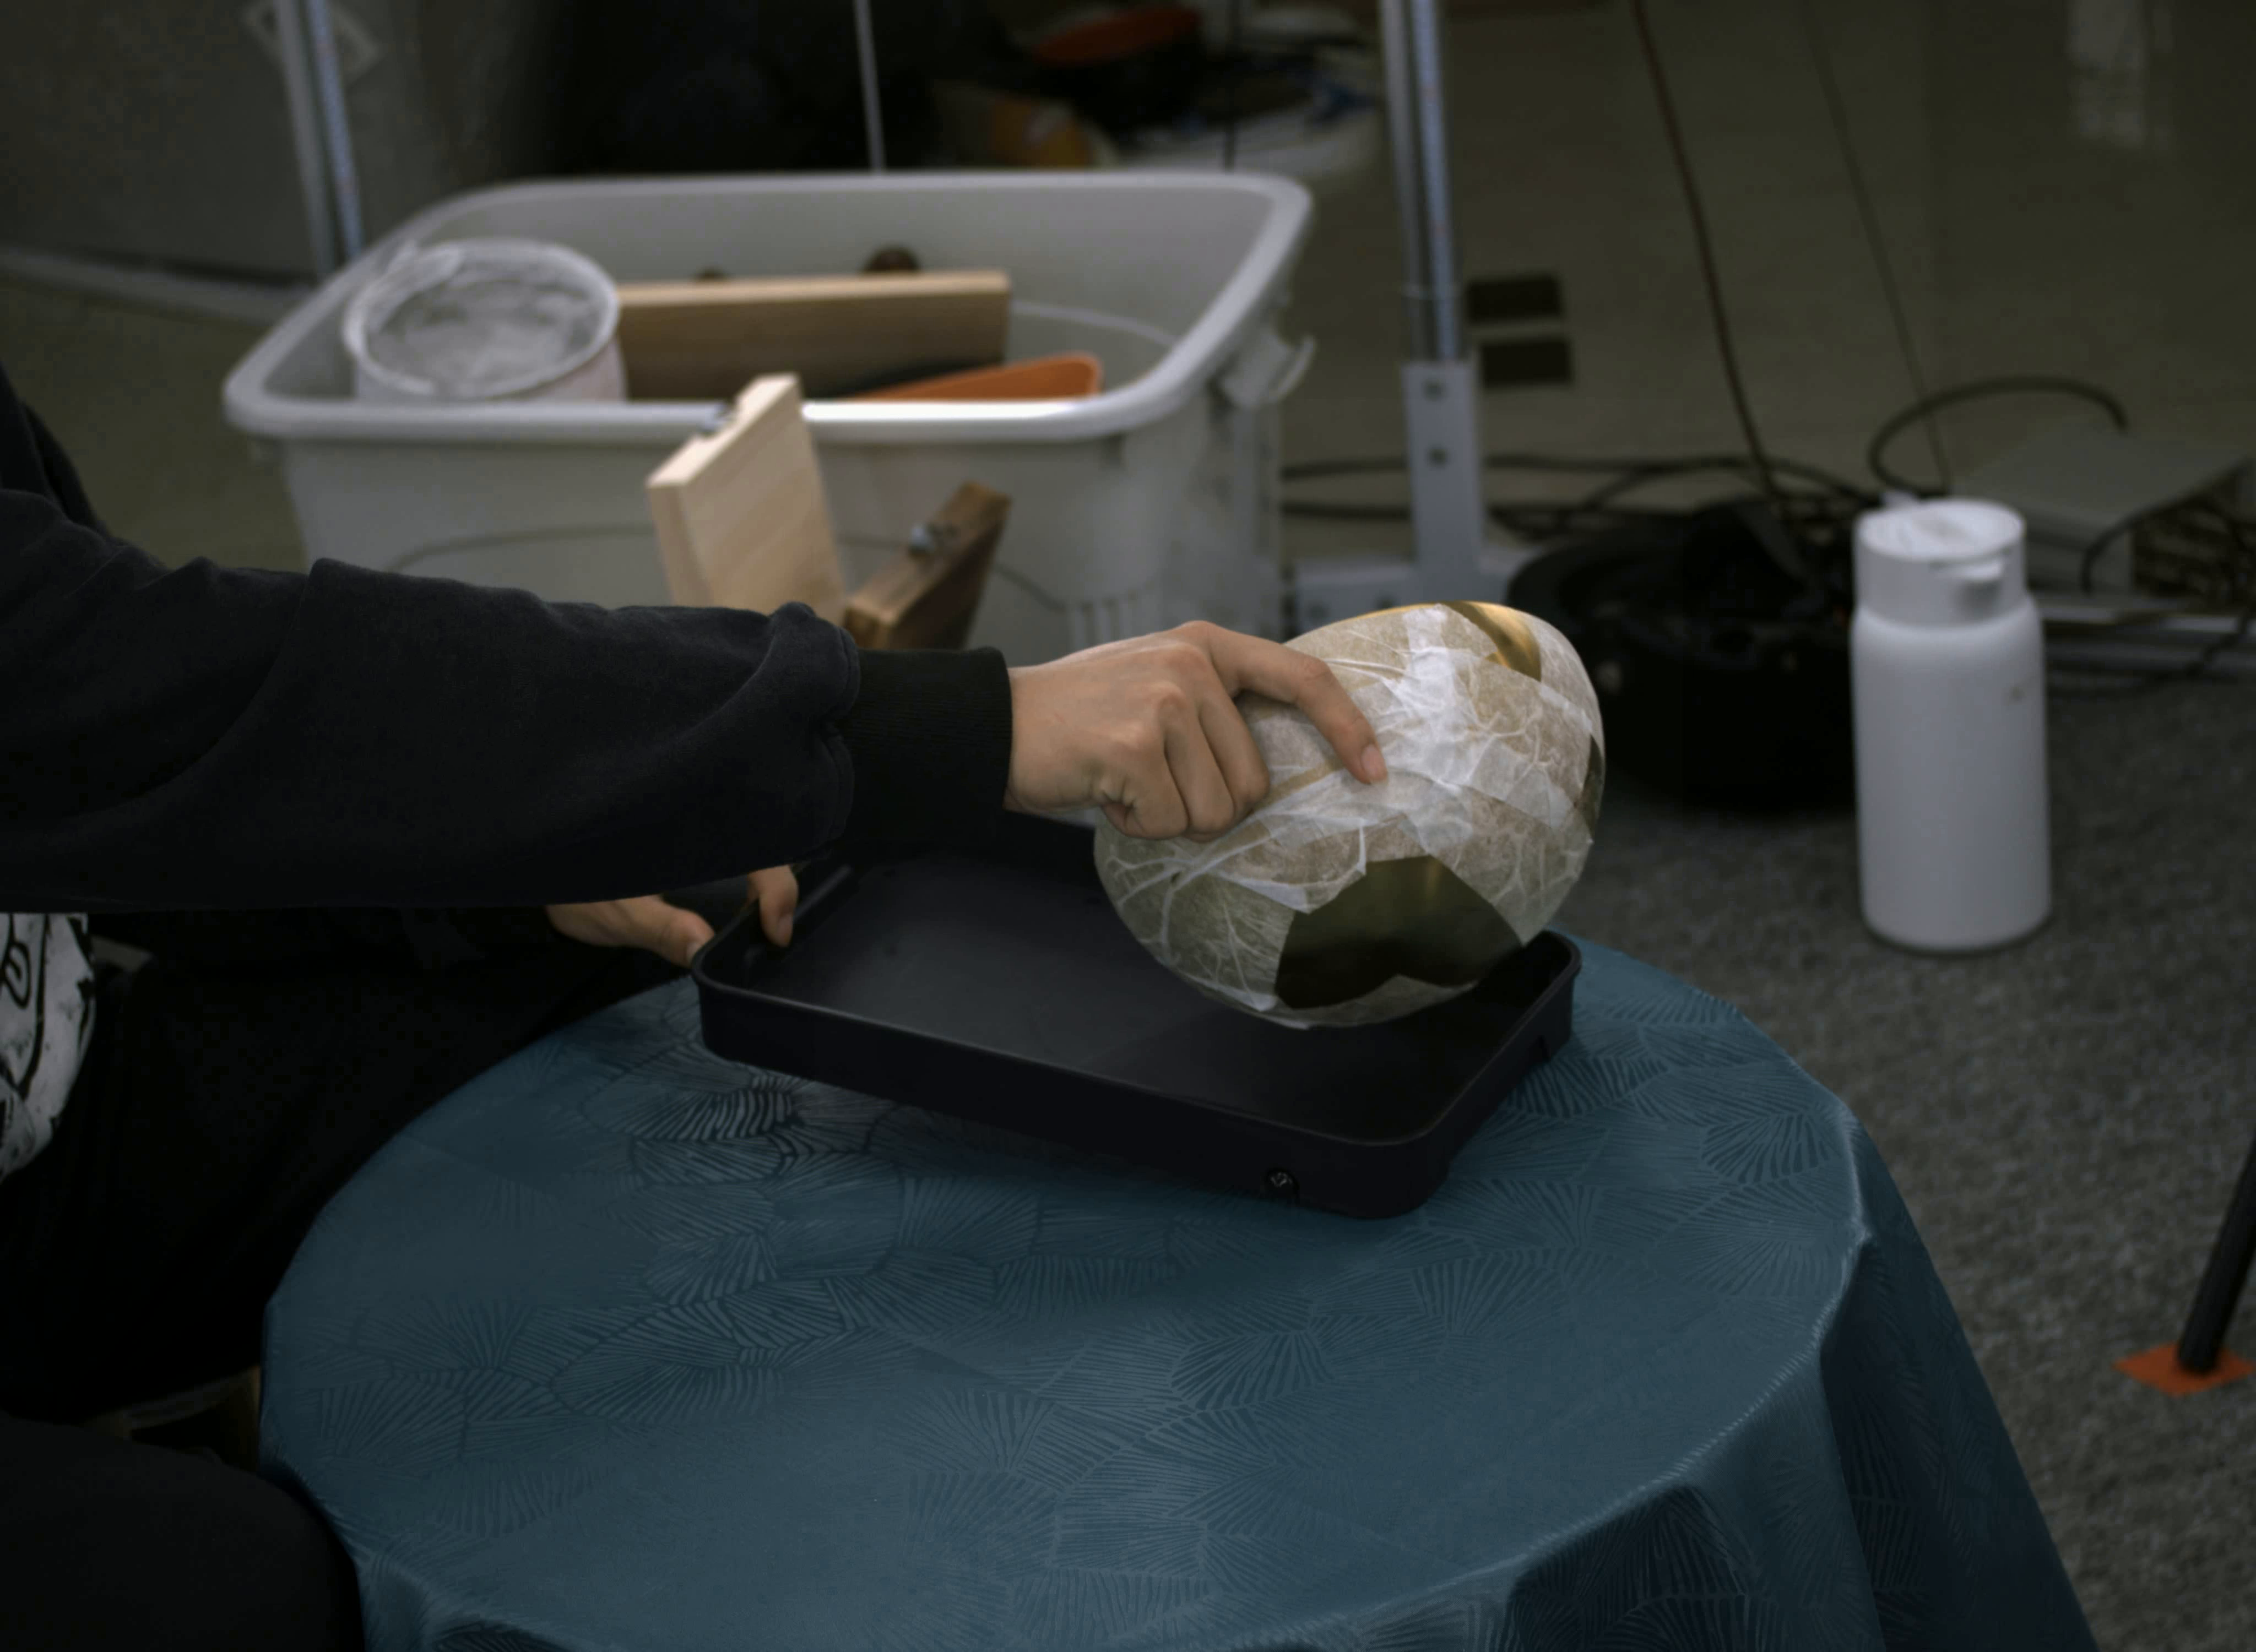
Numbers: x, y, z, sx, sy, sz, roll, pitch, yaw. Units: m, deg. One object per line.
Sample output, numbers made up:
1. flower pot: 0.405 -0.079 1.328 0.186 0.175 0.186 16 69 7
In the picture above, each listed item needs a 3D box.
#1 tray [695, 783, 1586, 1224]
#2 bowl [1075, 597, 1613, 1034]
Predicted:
1. tray: 0.005 0.066 2.225 0.316 0.038 0.182 13 33 25
2. bowl: 0.094 0.016 2.139 0.214 0.218 0.093 -13 58 -15
